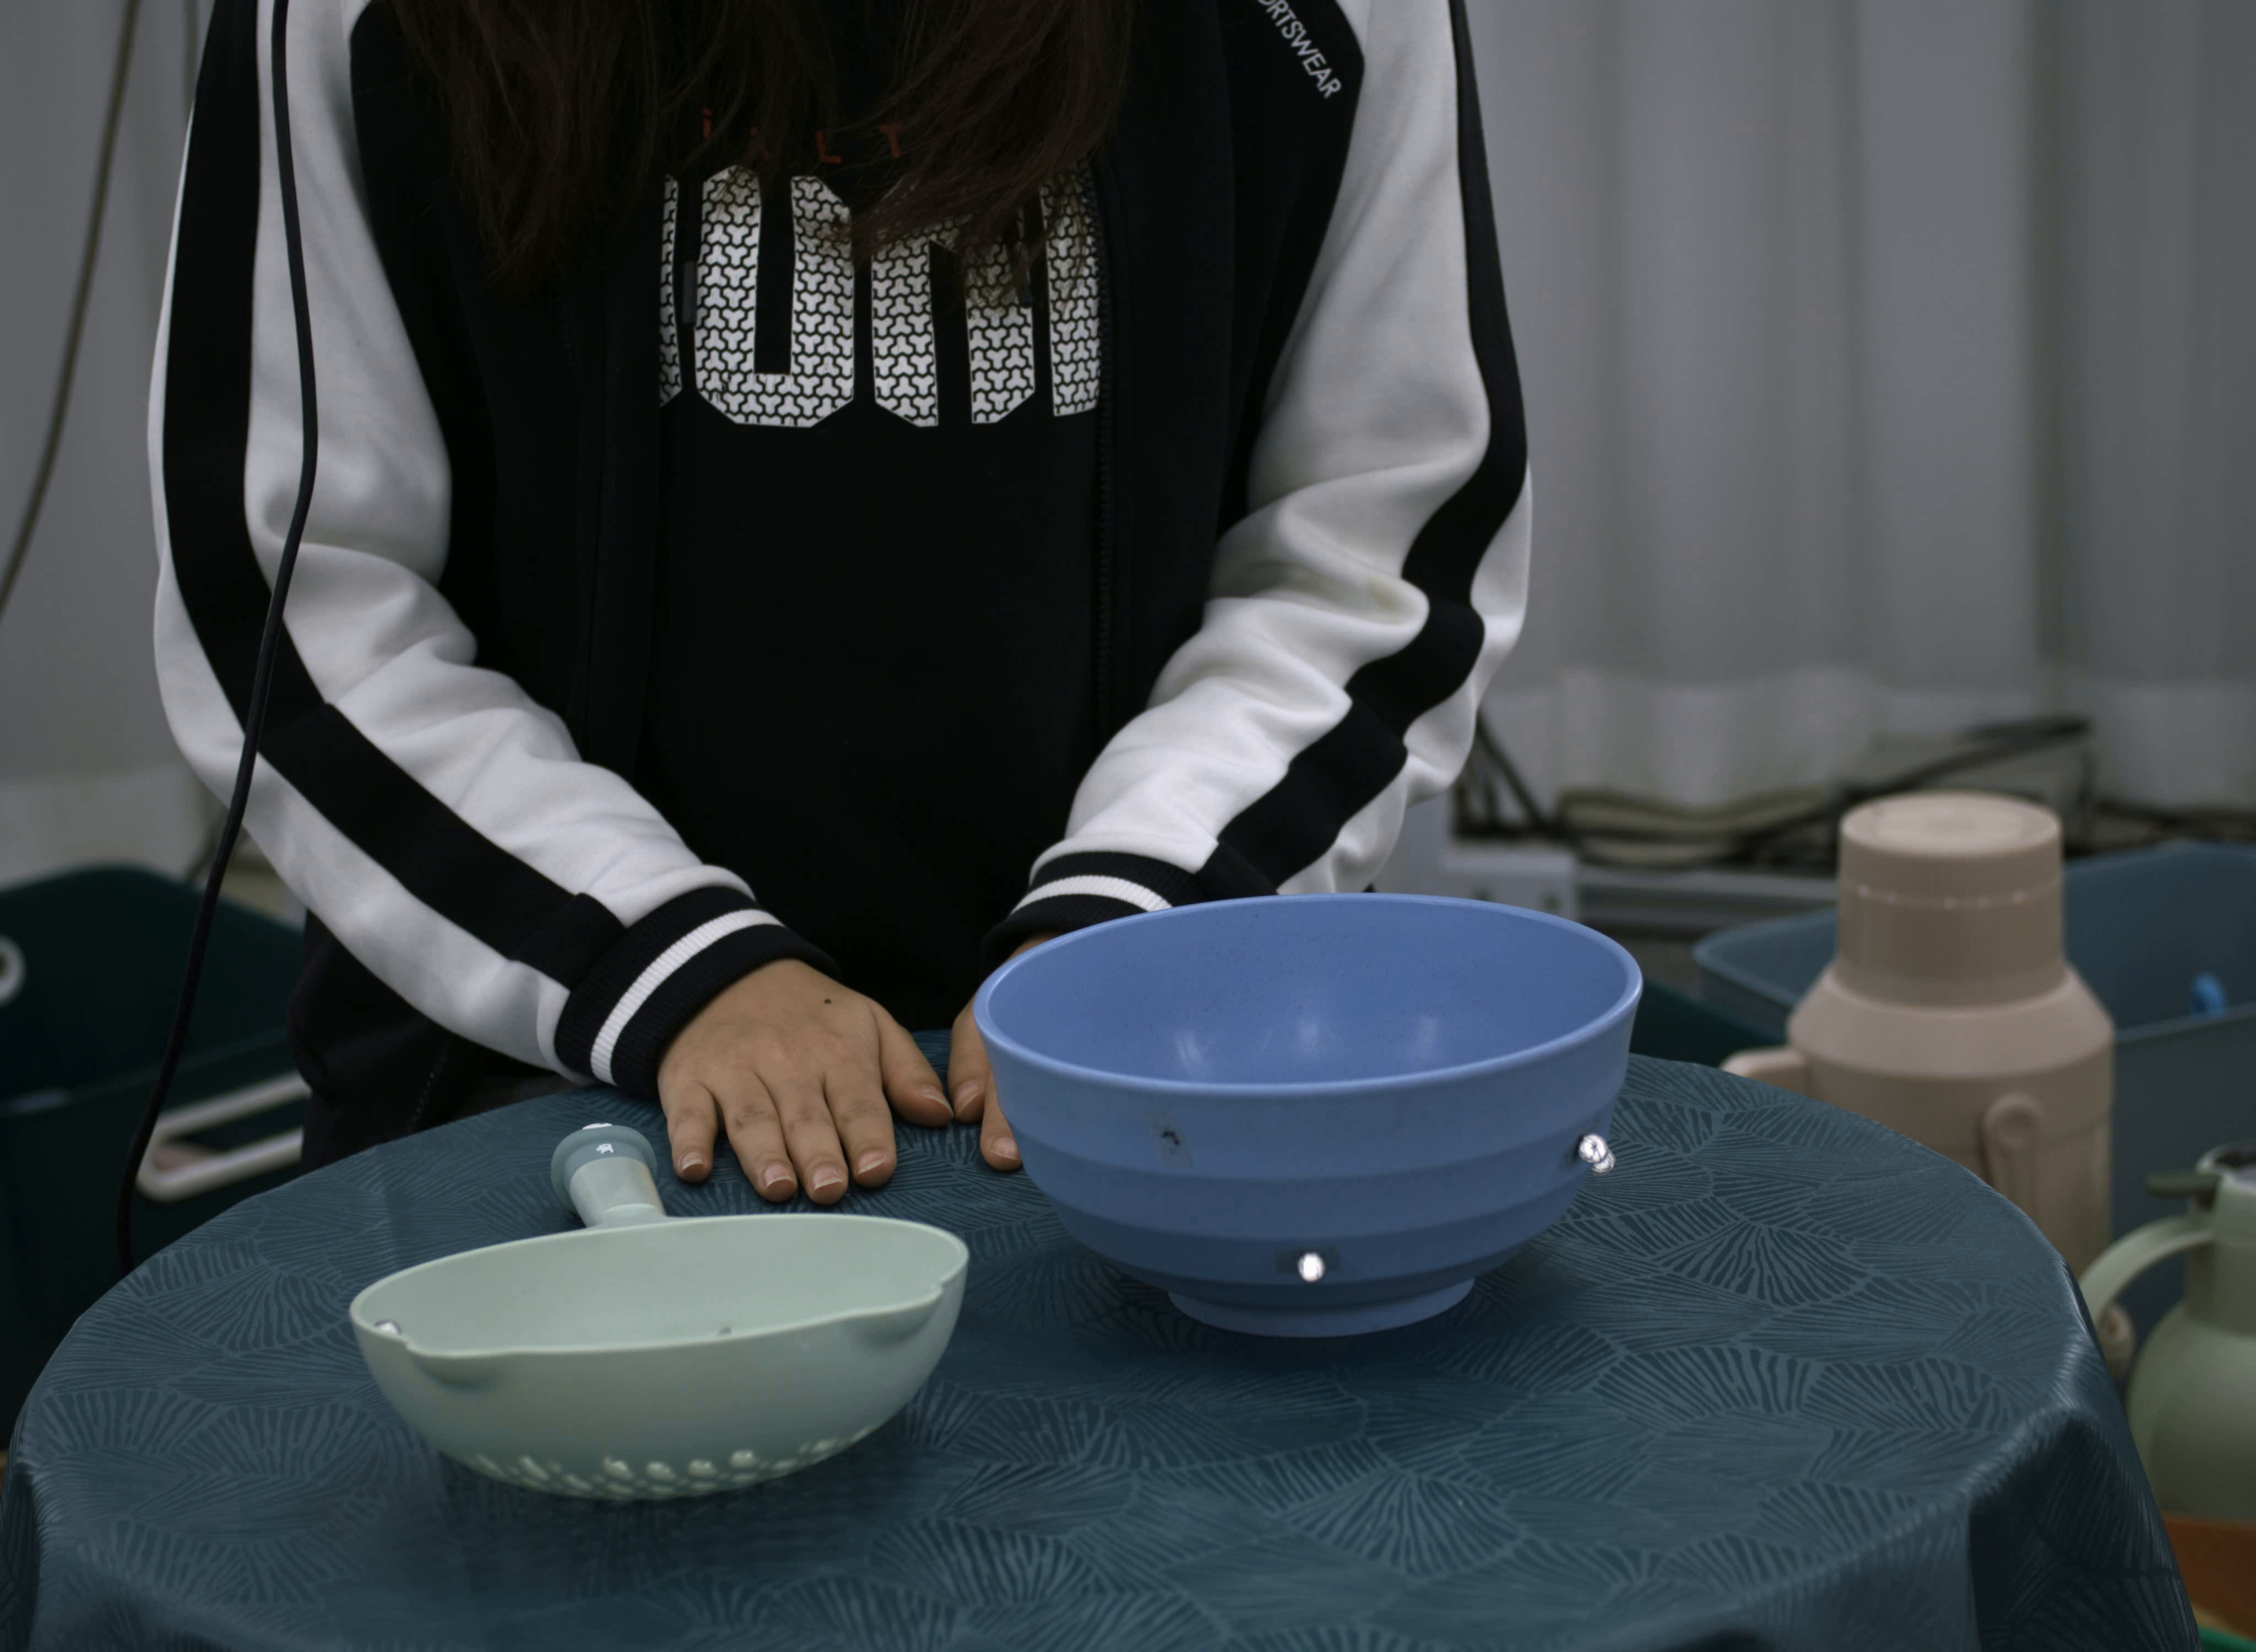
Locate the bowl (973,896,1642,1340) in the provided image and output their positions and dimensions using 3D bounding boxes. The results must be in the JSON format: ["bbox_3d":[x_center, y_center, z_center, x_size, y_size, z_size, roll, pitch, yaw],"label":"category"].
[{"bbox_3d":[0.055,0.091,1.609,0.196,0.095,0.198,-3,14,1],"label":"bowl"}]

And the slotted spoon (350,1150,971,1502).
[{"bbox_3d":[-0.141,0.128,1.581,0.168,0.075,0.361,-5,13,-8],"label":"slotted spoon"}]
